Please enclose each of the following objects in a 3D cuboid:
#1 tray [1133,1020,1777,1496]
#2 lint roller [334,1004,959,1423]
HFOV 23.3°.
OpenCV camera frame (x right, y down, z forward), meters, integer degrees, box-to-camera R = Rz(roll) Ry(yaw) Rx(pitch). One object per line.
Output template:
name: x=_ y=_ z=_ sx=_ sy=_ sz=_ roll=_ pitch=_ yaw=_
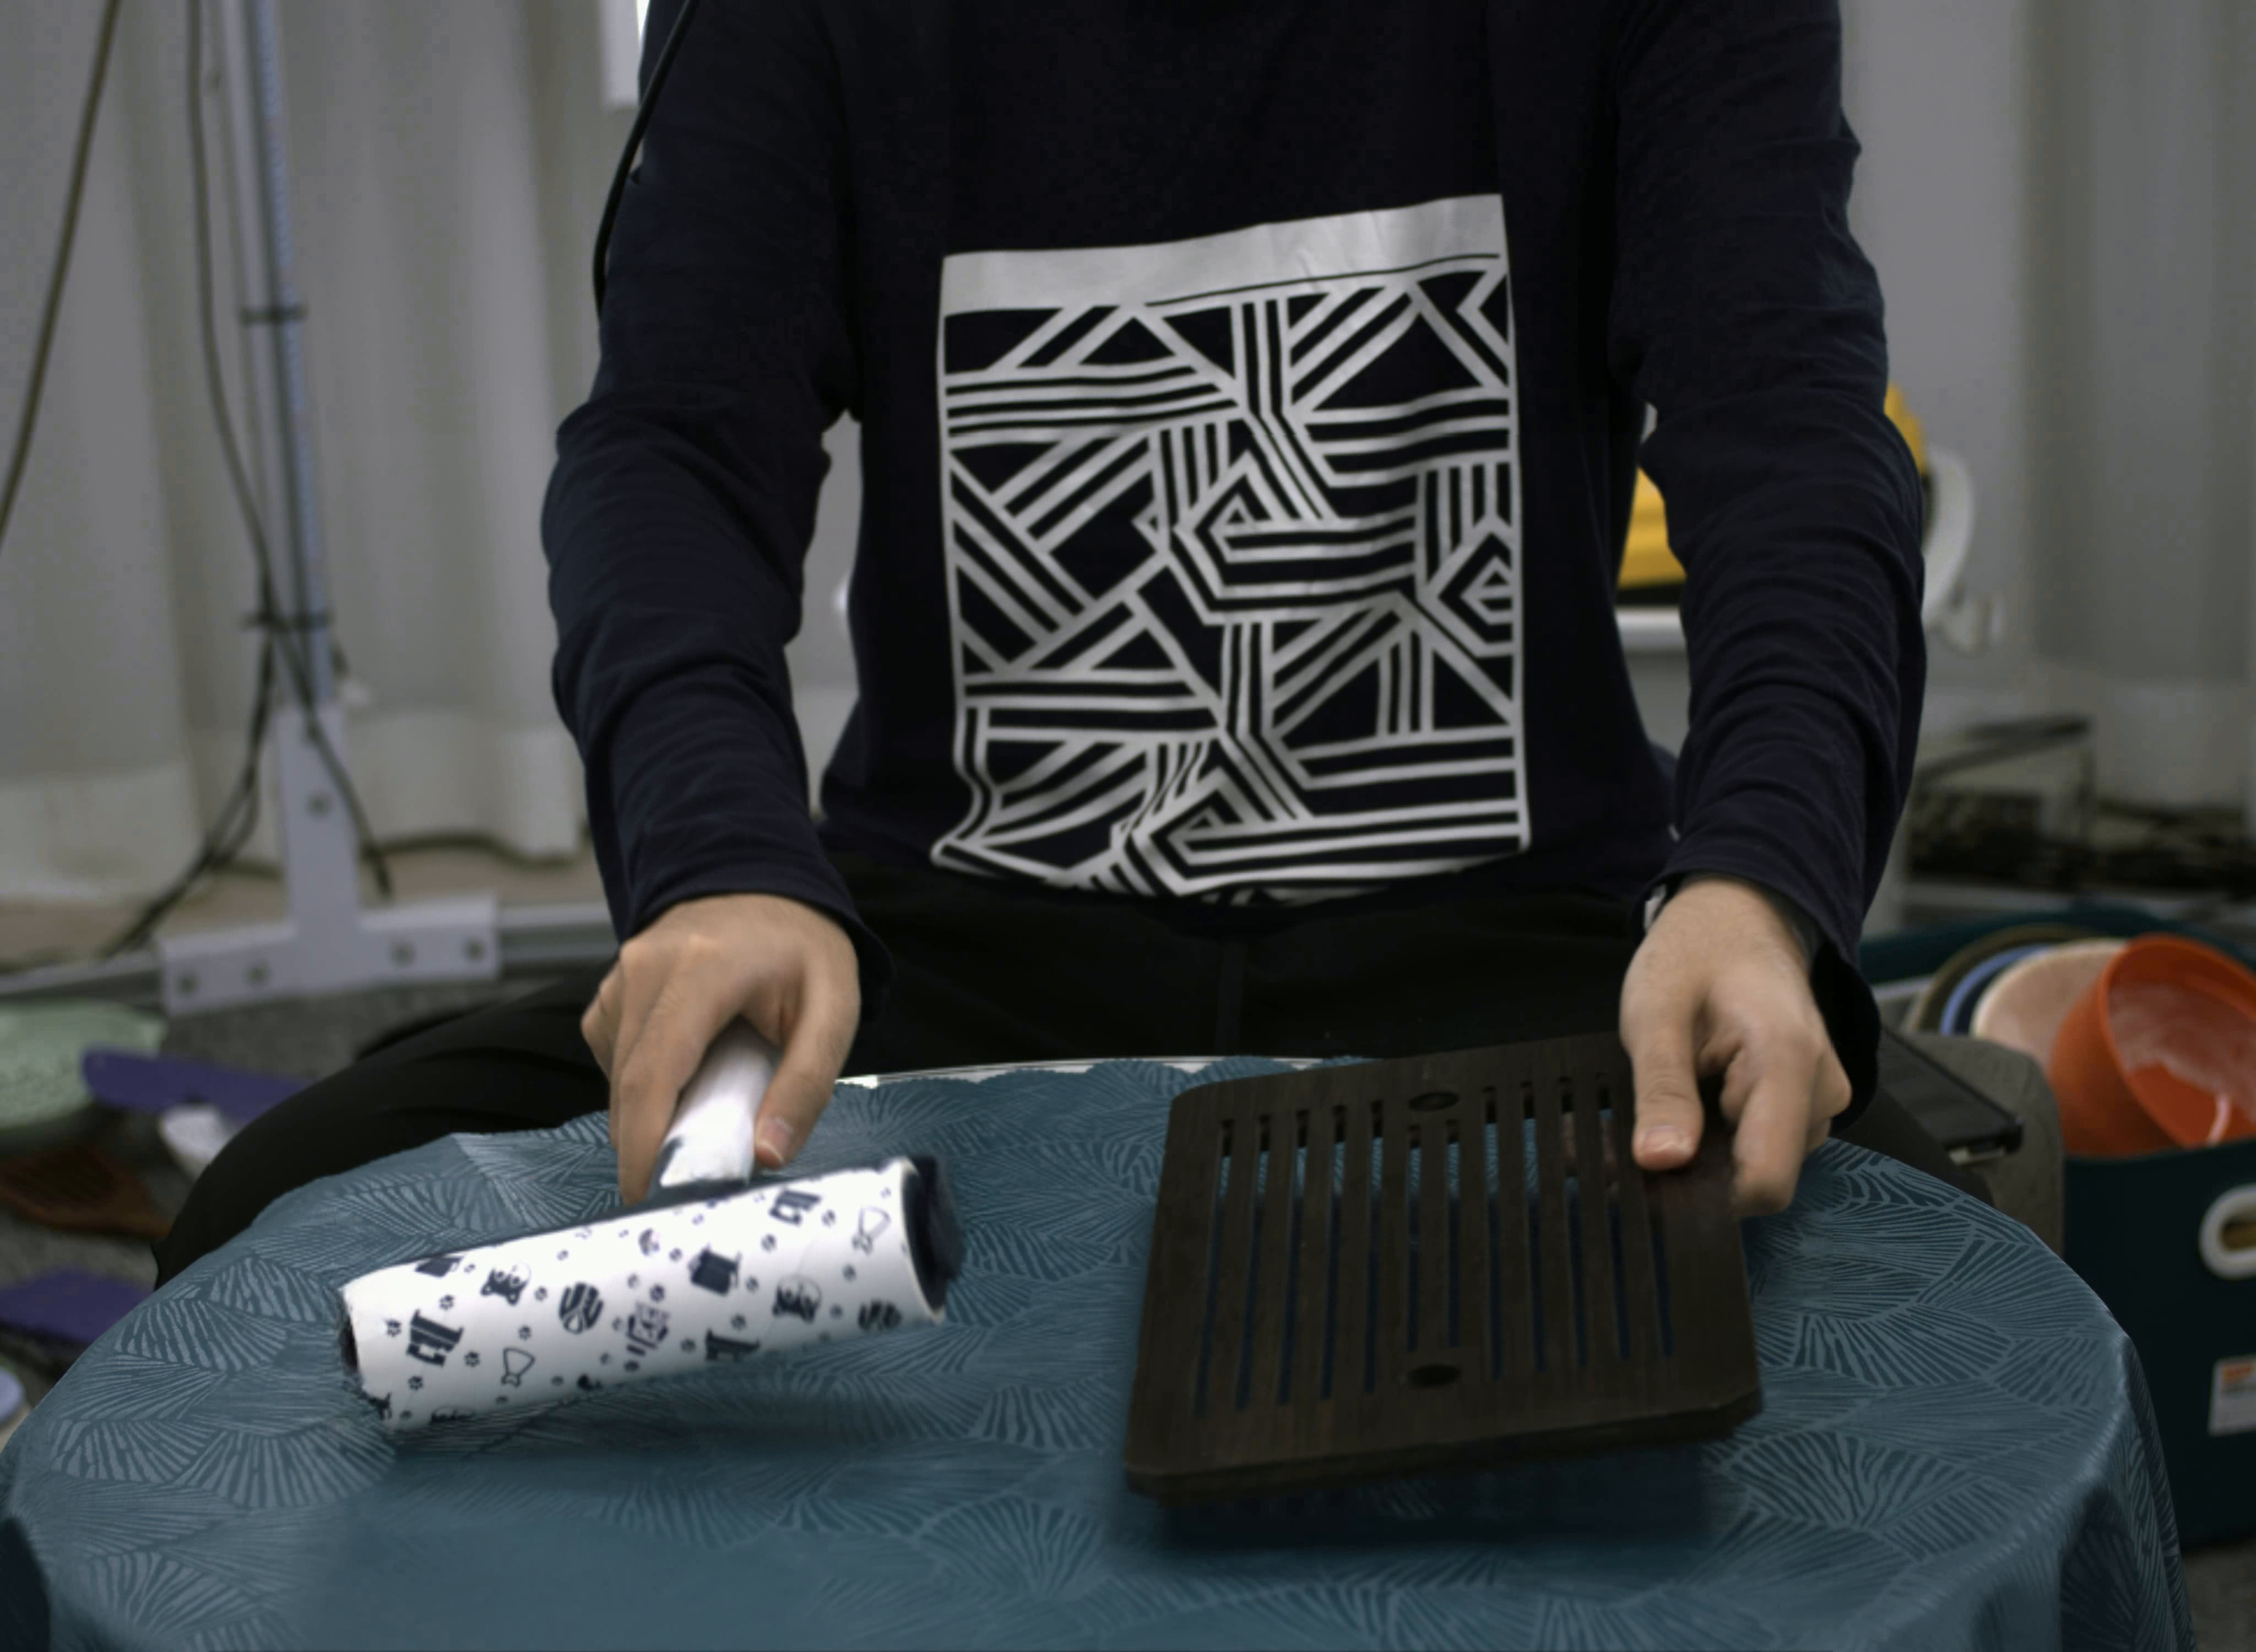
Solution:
tray: x=0.094 y=0.120 z=1.560 sx=0.169 sy=0.018 sz=0.308 roll=-8 pitch=15 yaw=6
lint roller: x=-0.128 y=0.096 z=1.621 sx=0.176 sy=0.050 sz=0.249 roll=-15 pitch=16 yaw=9
